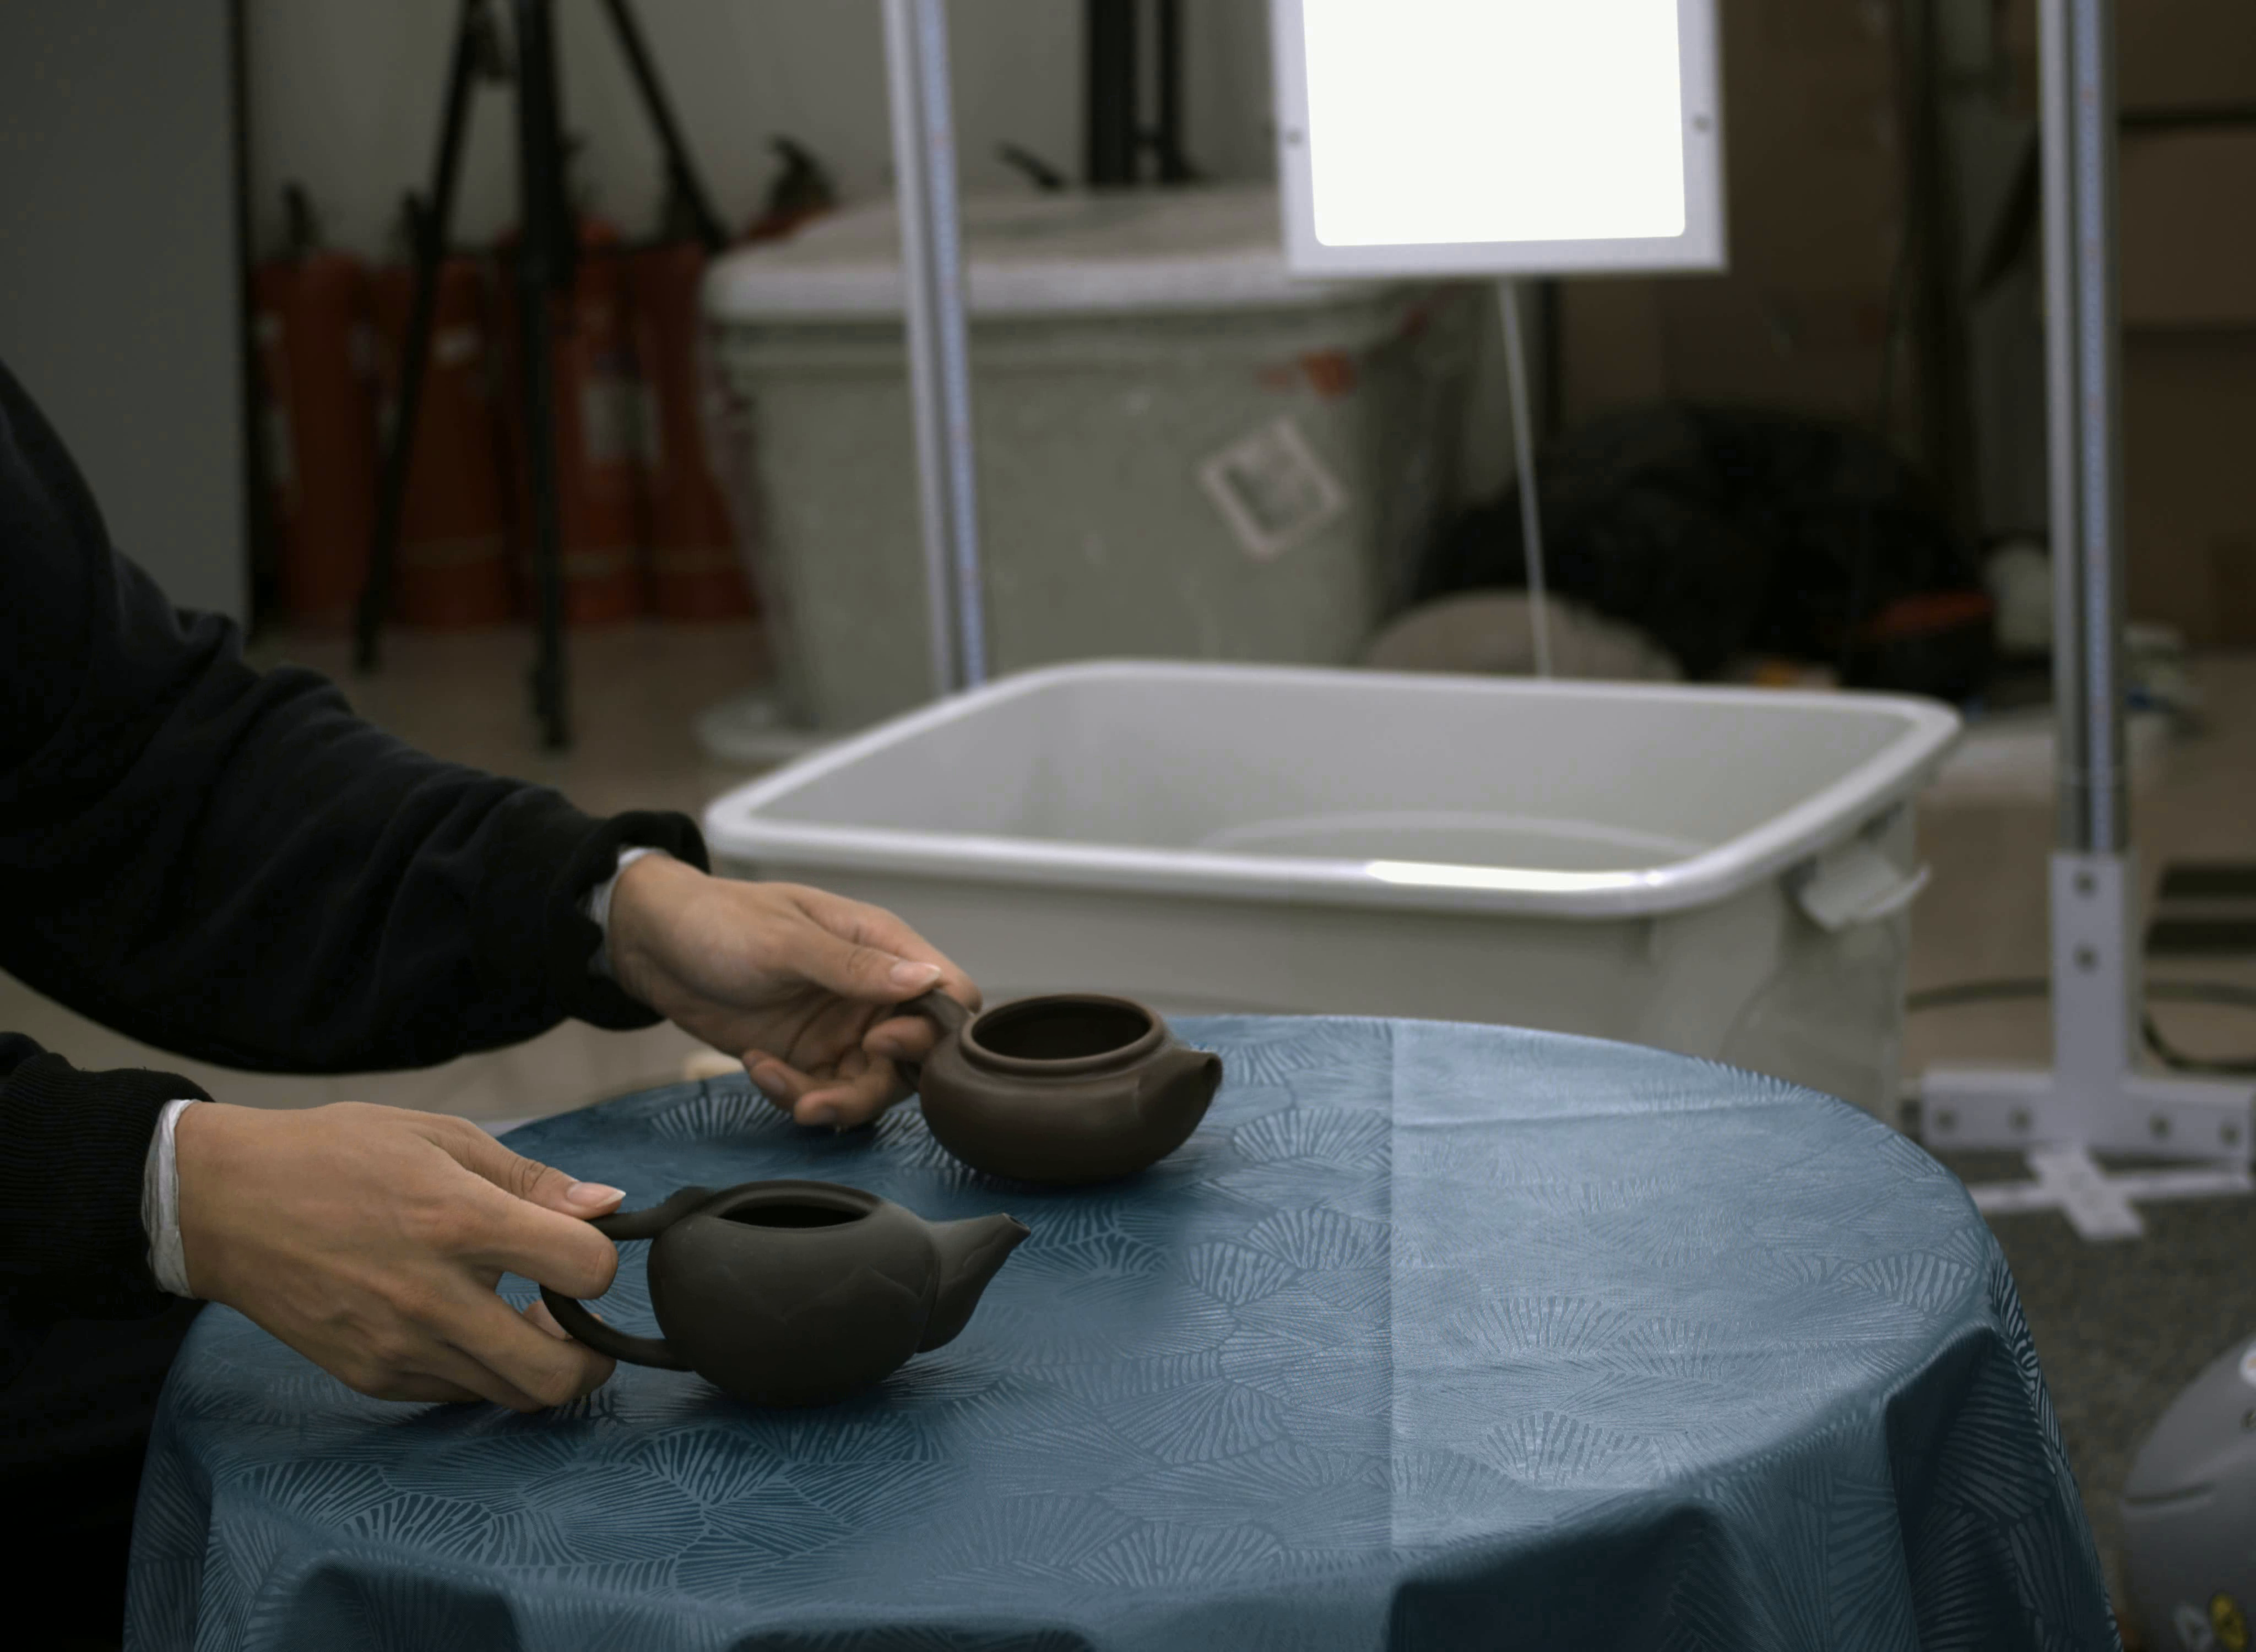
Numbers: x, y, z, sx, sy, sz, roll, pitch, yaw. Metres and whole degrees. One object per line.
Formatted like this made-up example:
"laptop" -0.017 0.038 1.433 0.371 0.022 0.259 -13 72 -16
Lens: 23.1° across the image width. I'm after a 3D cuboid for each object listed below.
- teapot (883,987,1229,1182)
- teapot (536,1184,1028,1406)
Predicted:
"teapot" -0.026 0.089 1.934 0.156 0.054 0.100 11 22 36
"teapot" -0.108 0.144 1.724 0.153 0.064 0.092 0 9 -3
